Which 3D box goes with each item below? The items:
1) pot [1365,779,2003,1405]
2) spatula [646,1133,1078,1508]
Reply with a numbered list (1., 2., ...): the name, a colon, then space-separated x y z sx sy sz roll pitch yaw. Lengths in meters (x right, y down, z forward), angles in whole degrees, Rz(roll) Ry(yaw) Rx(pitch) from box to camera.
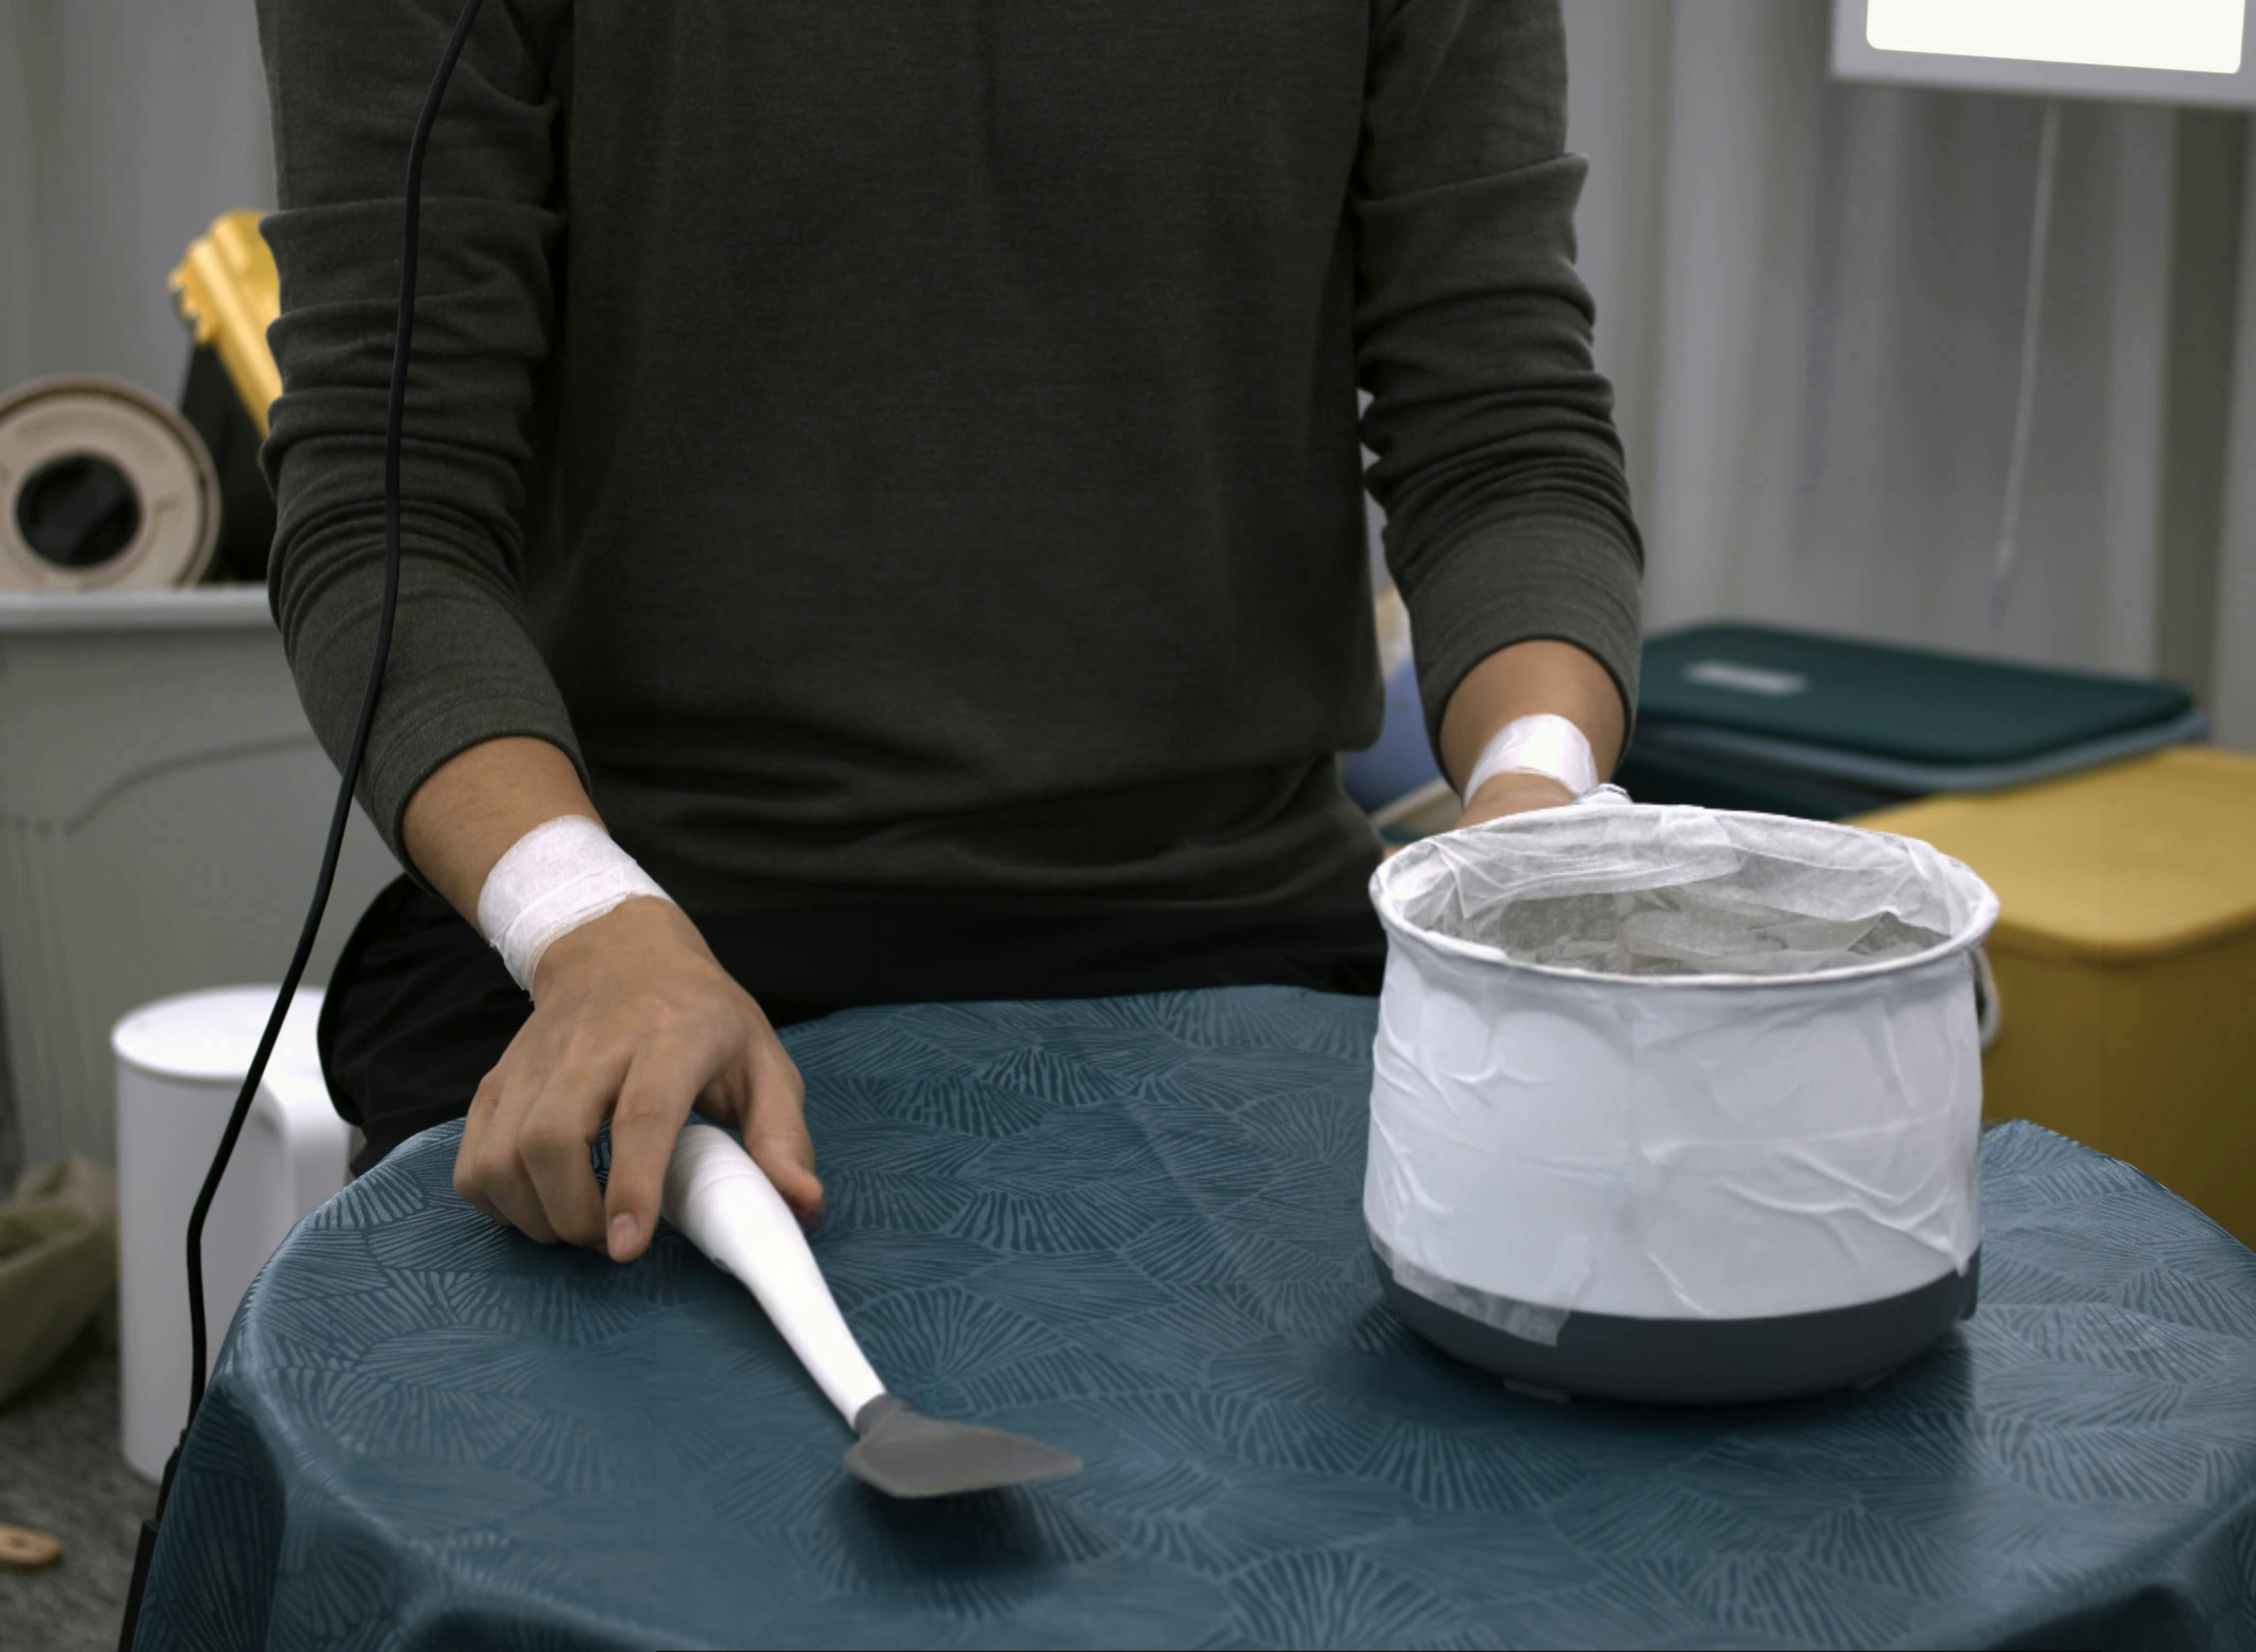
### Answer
1. pot: 0.152 0.071 1.522 0.178 0.138 0.232 -2 16 -9
2. spatula: -0.082 0.141 1.456 0.059 0.032 0.284 -2 15 -20
